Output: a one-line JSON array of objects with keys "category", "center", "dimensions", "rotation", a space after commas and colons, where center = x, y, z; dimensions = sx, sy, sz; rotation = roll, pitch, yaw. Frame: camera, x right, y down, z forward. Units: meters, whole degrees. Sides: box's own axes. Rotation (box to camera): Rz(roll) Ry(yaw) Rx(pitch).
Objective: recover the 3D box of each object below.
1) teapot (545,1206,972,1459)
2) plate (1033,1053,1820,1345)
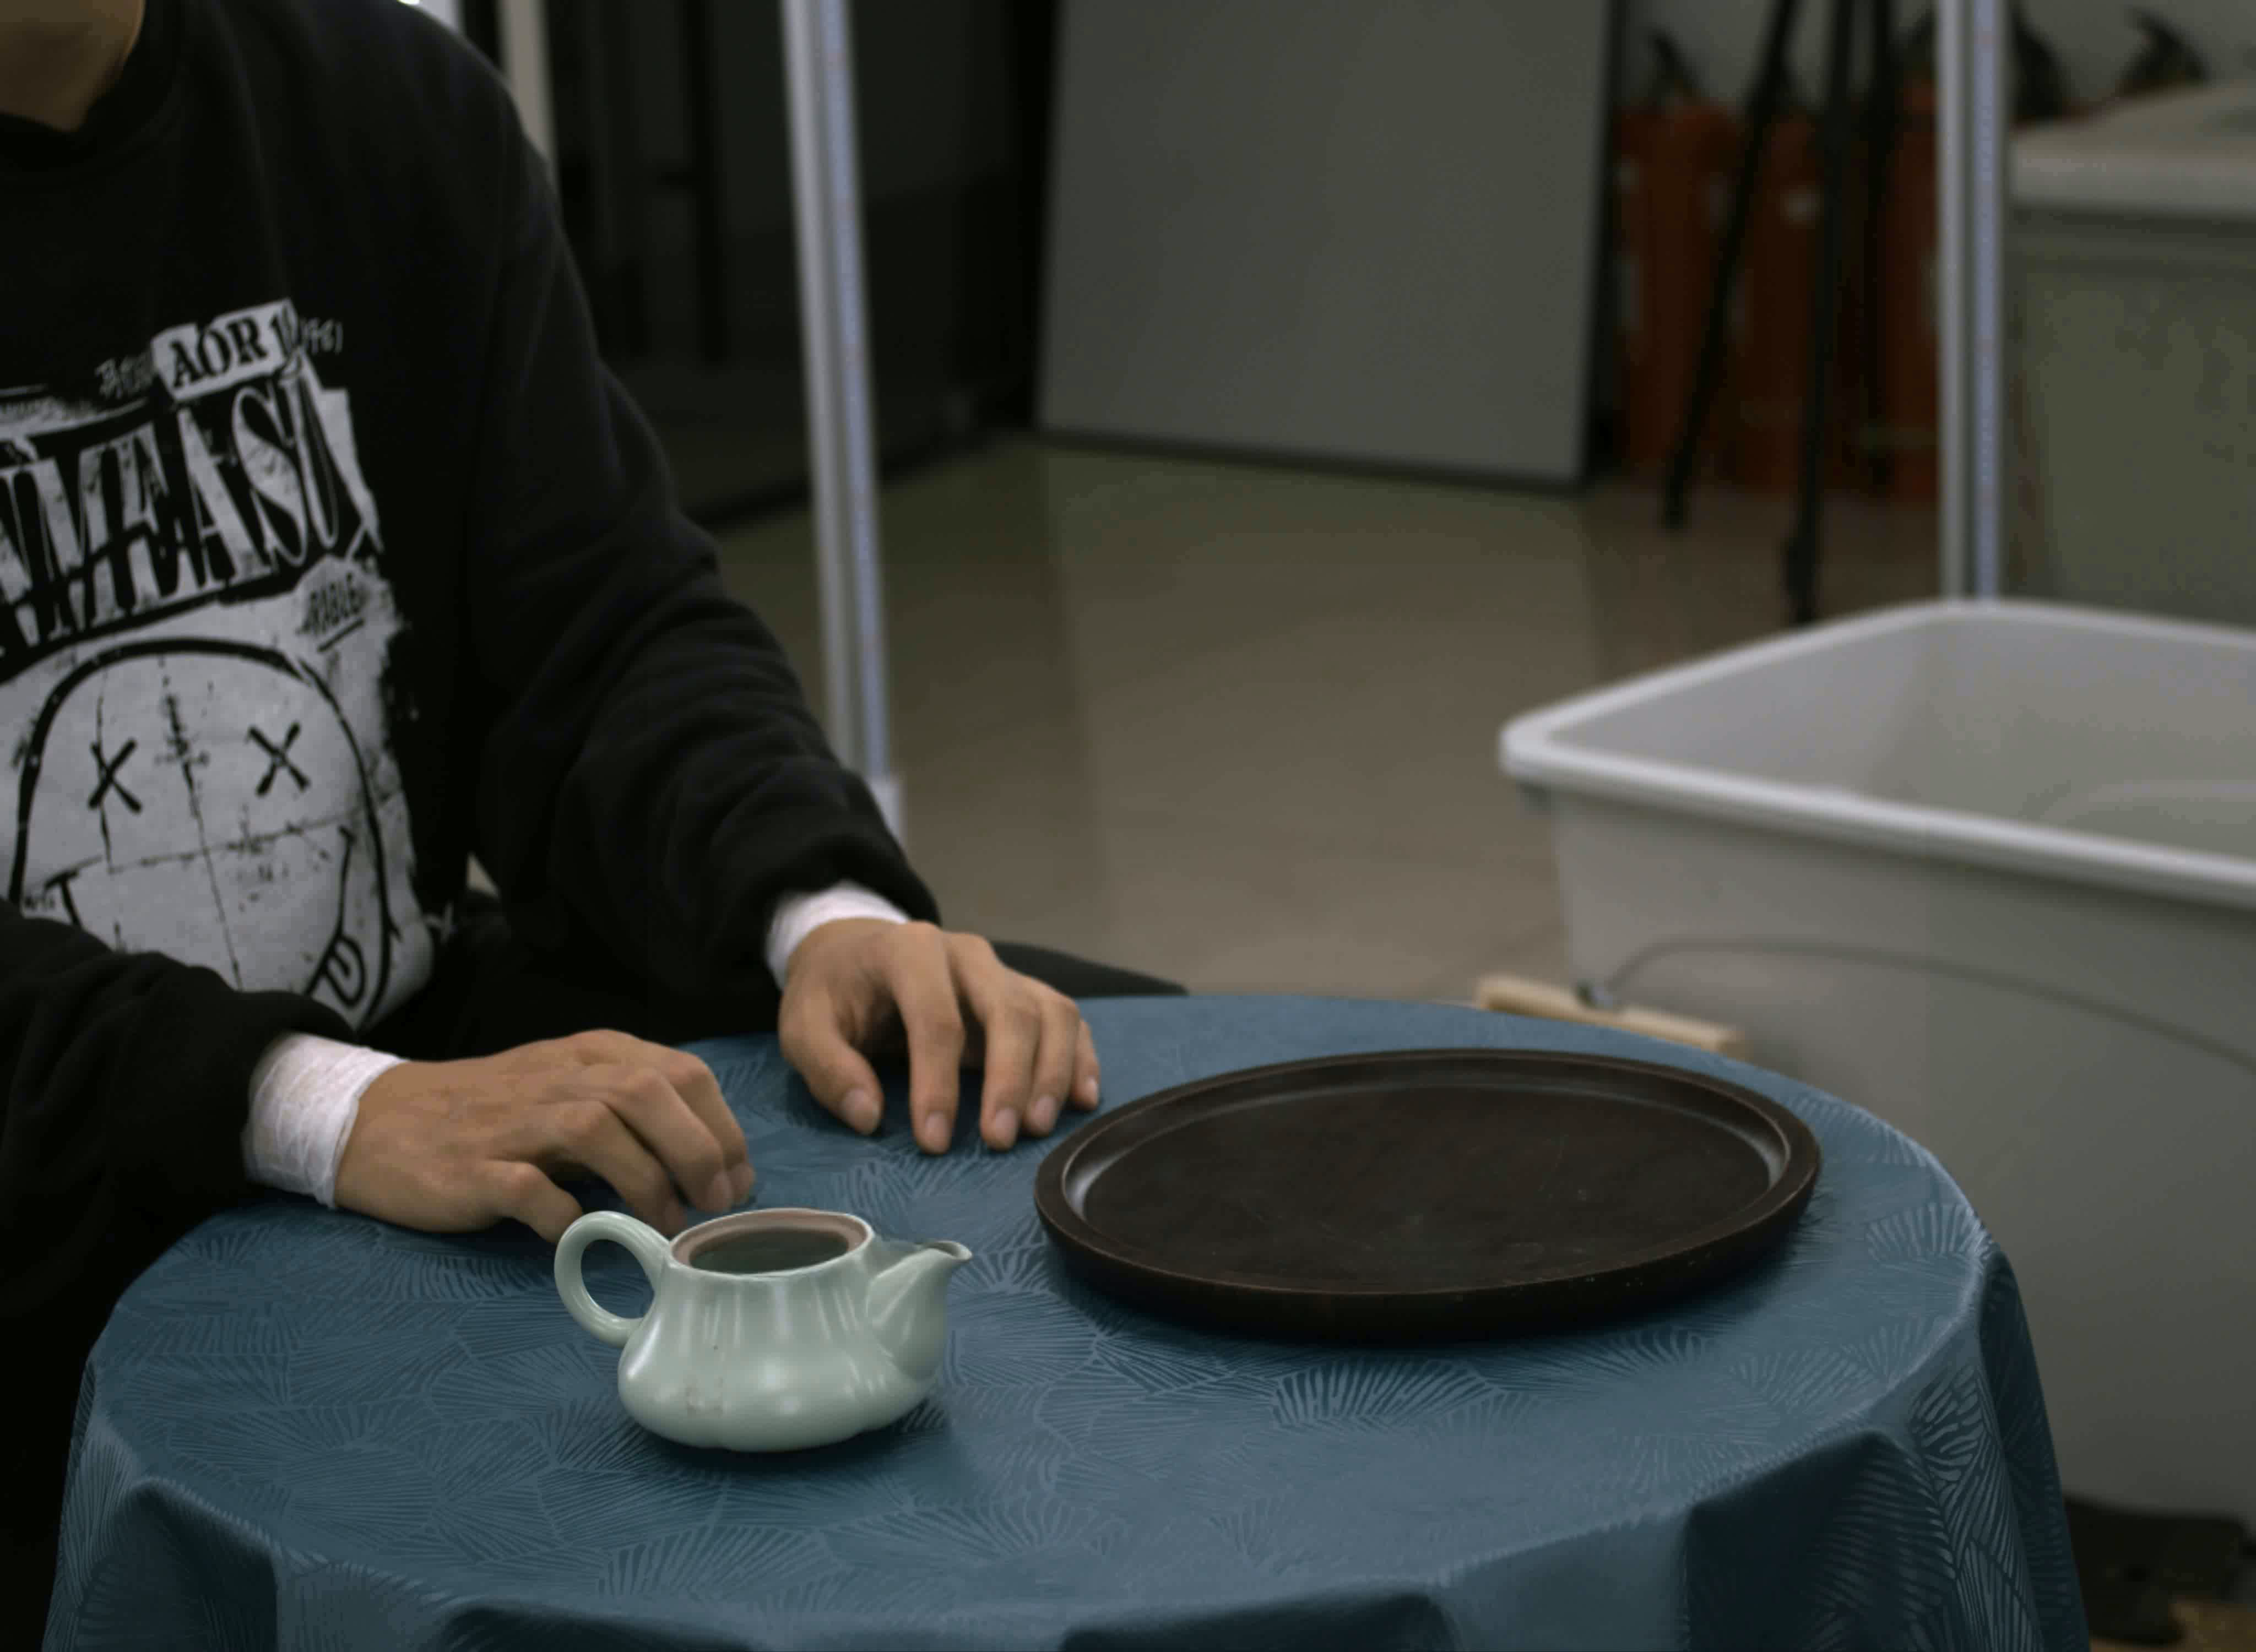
[{"category": "teapot", "center": [-0.107, 0.147, 1.579], "dimensions": [0.137, 0.062, 0.095], "rotation": [1, 16, 22]}, {"category": "plate", "center": [0.095, 0.116, 1.716], "dimensions": [0.251, 0.029, 0.255], "rotation": [-5, 15, 0]}]
